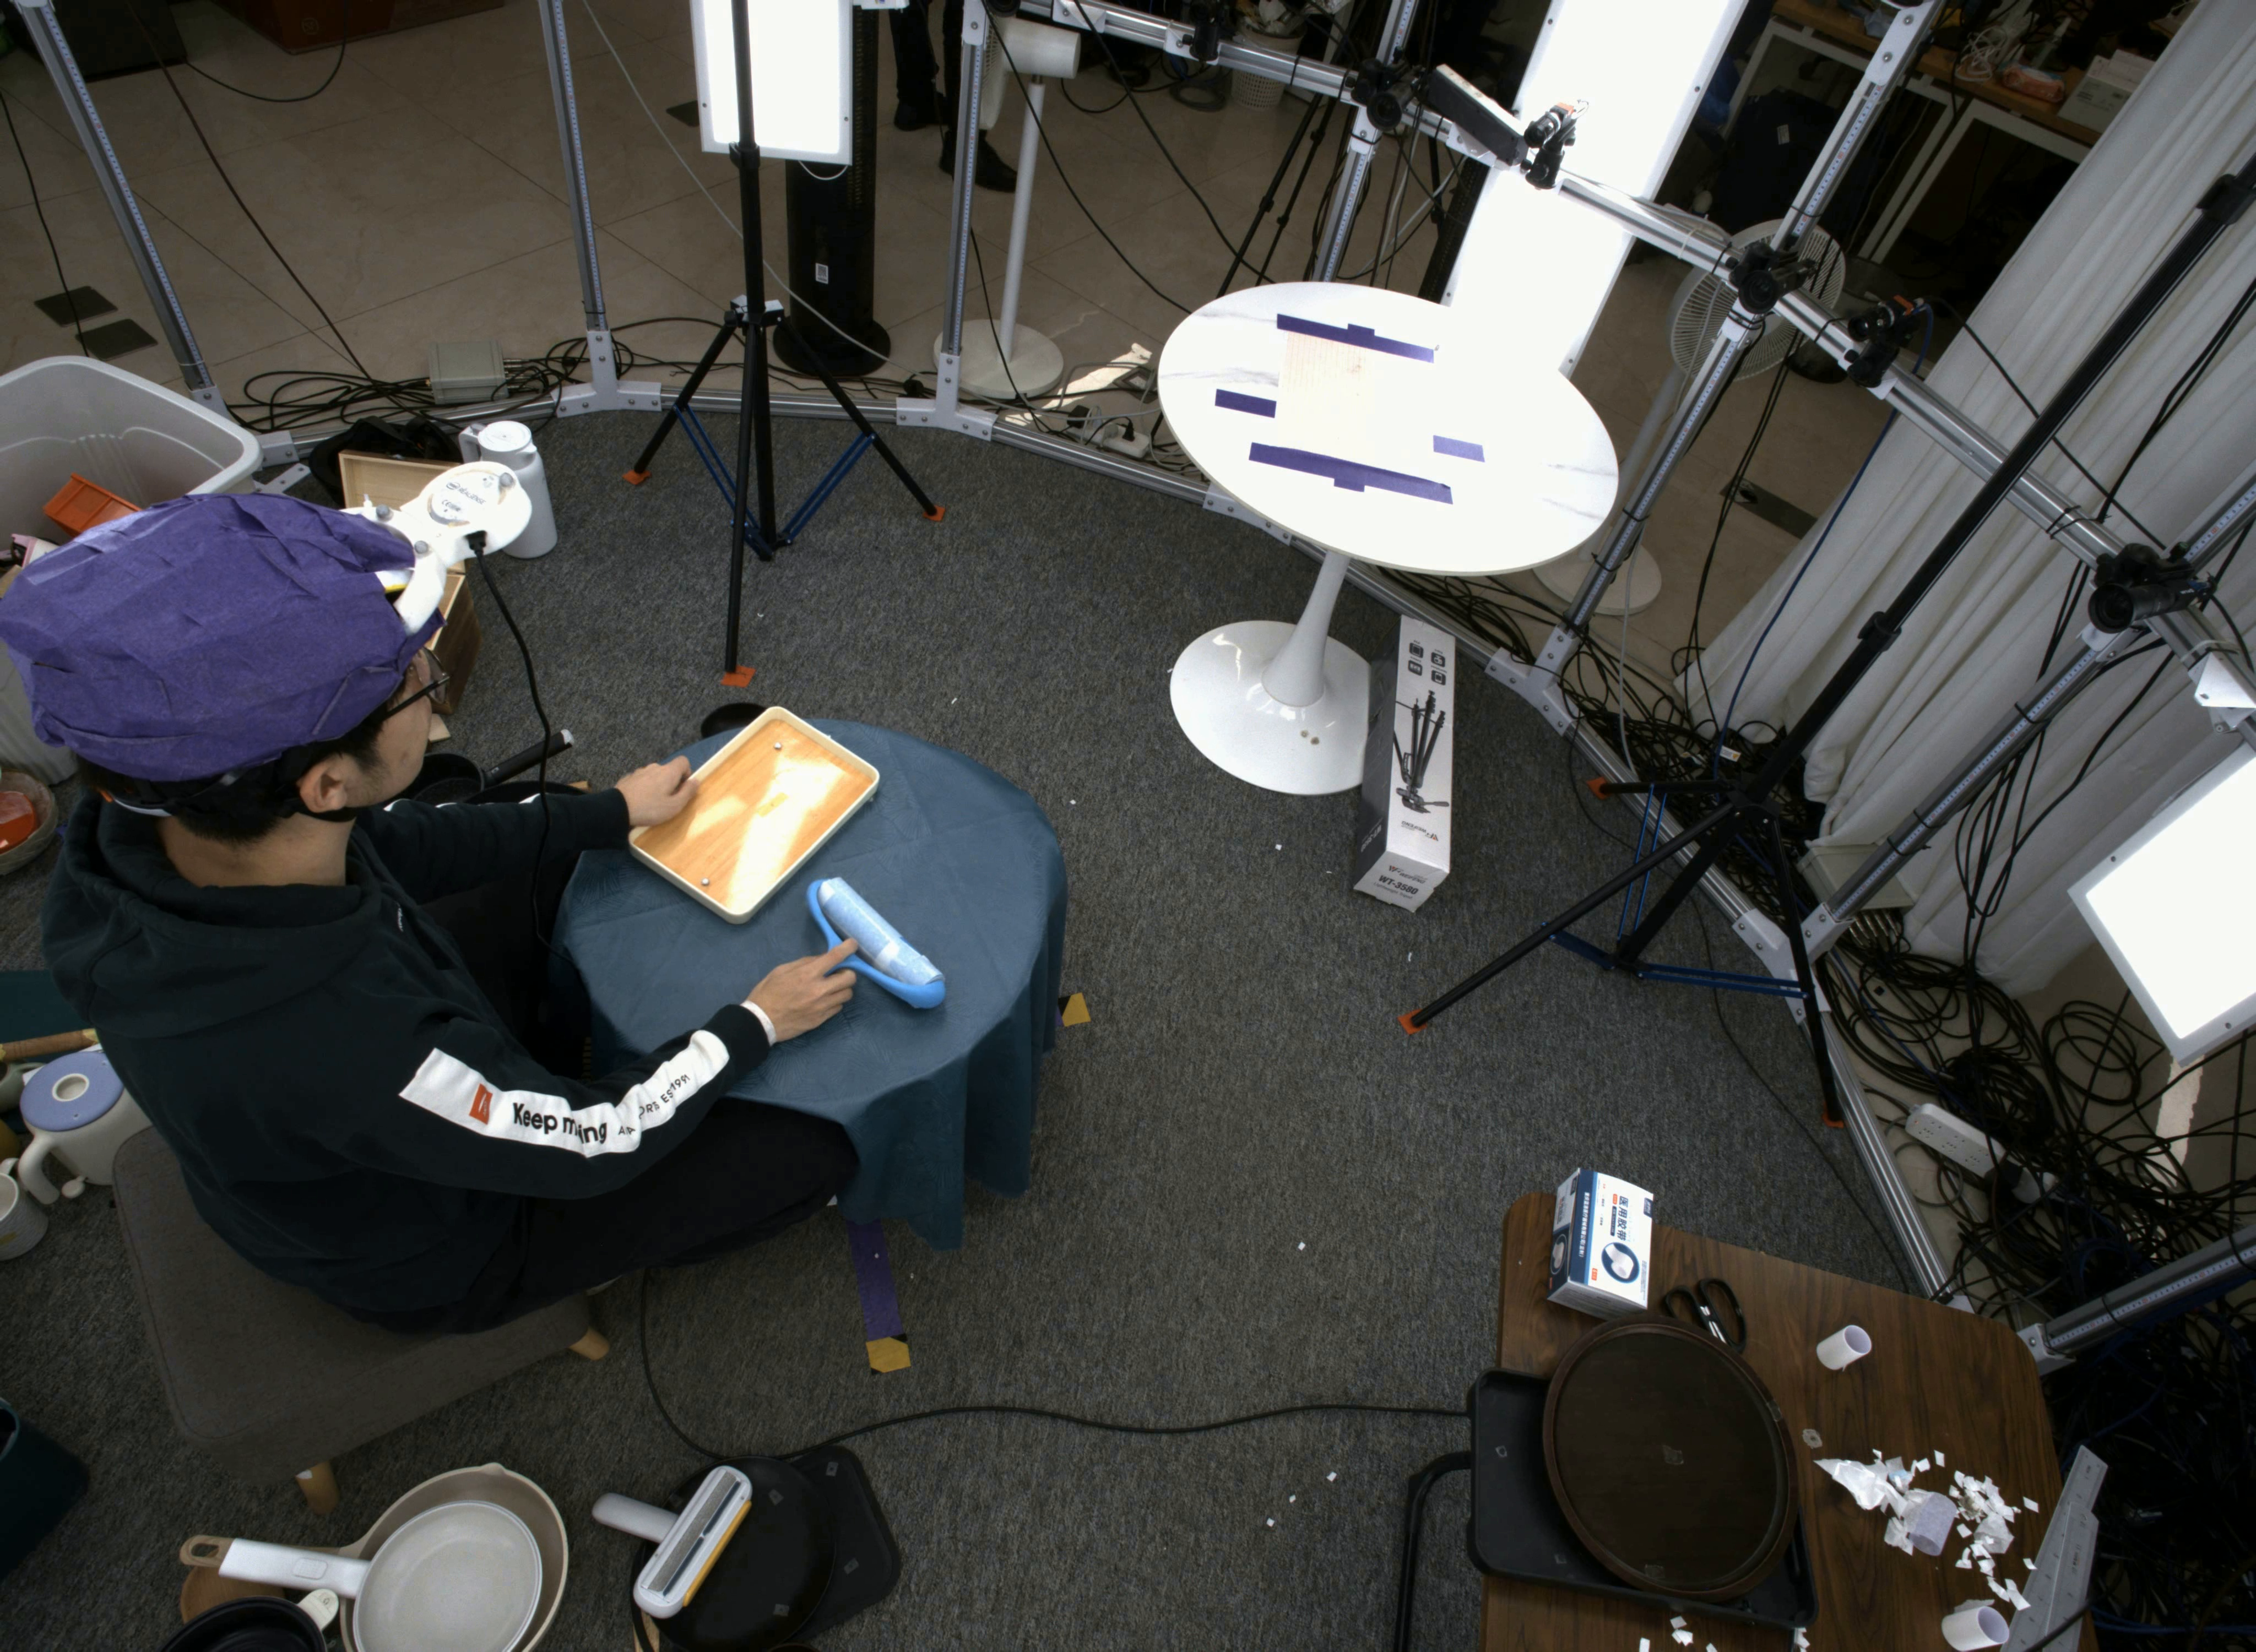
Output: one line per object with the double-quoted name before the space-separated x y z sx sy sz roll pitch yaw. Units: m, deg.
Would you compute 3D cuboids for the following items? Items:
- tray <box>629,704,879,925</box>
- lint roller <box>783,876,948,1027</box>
"tray" -0.488 -0.023 1.703 0.189 0.028 0.299 34 53 5
"lint roller" -0.348 0.171 1.588 0.225 0.069 0.180 38 53 12
